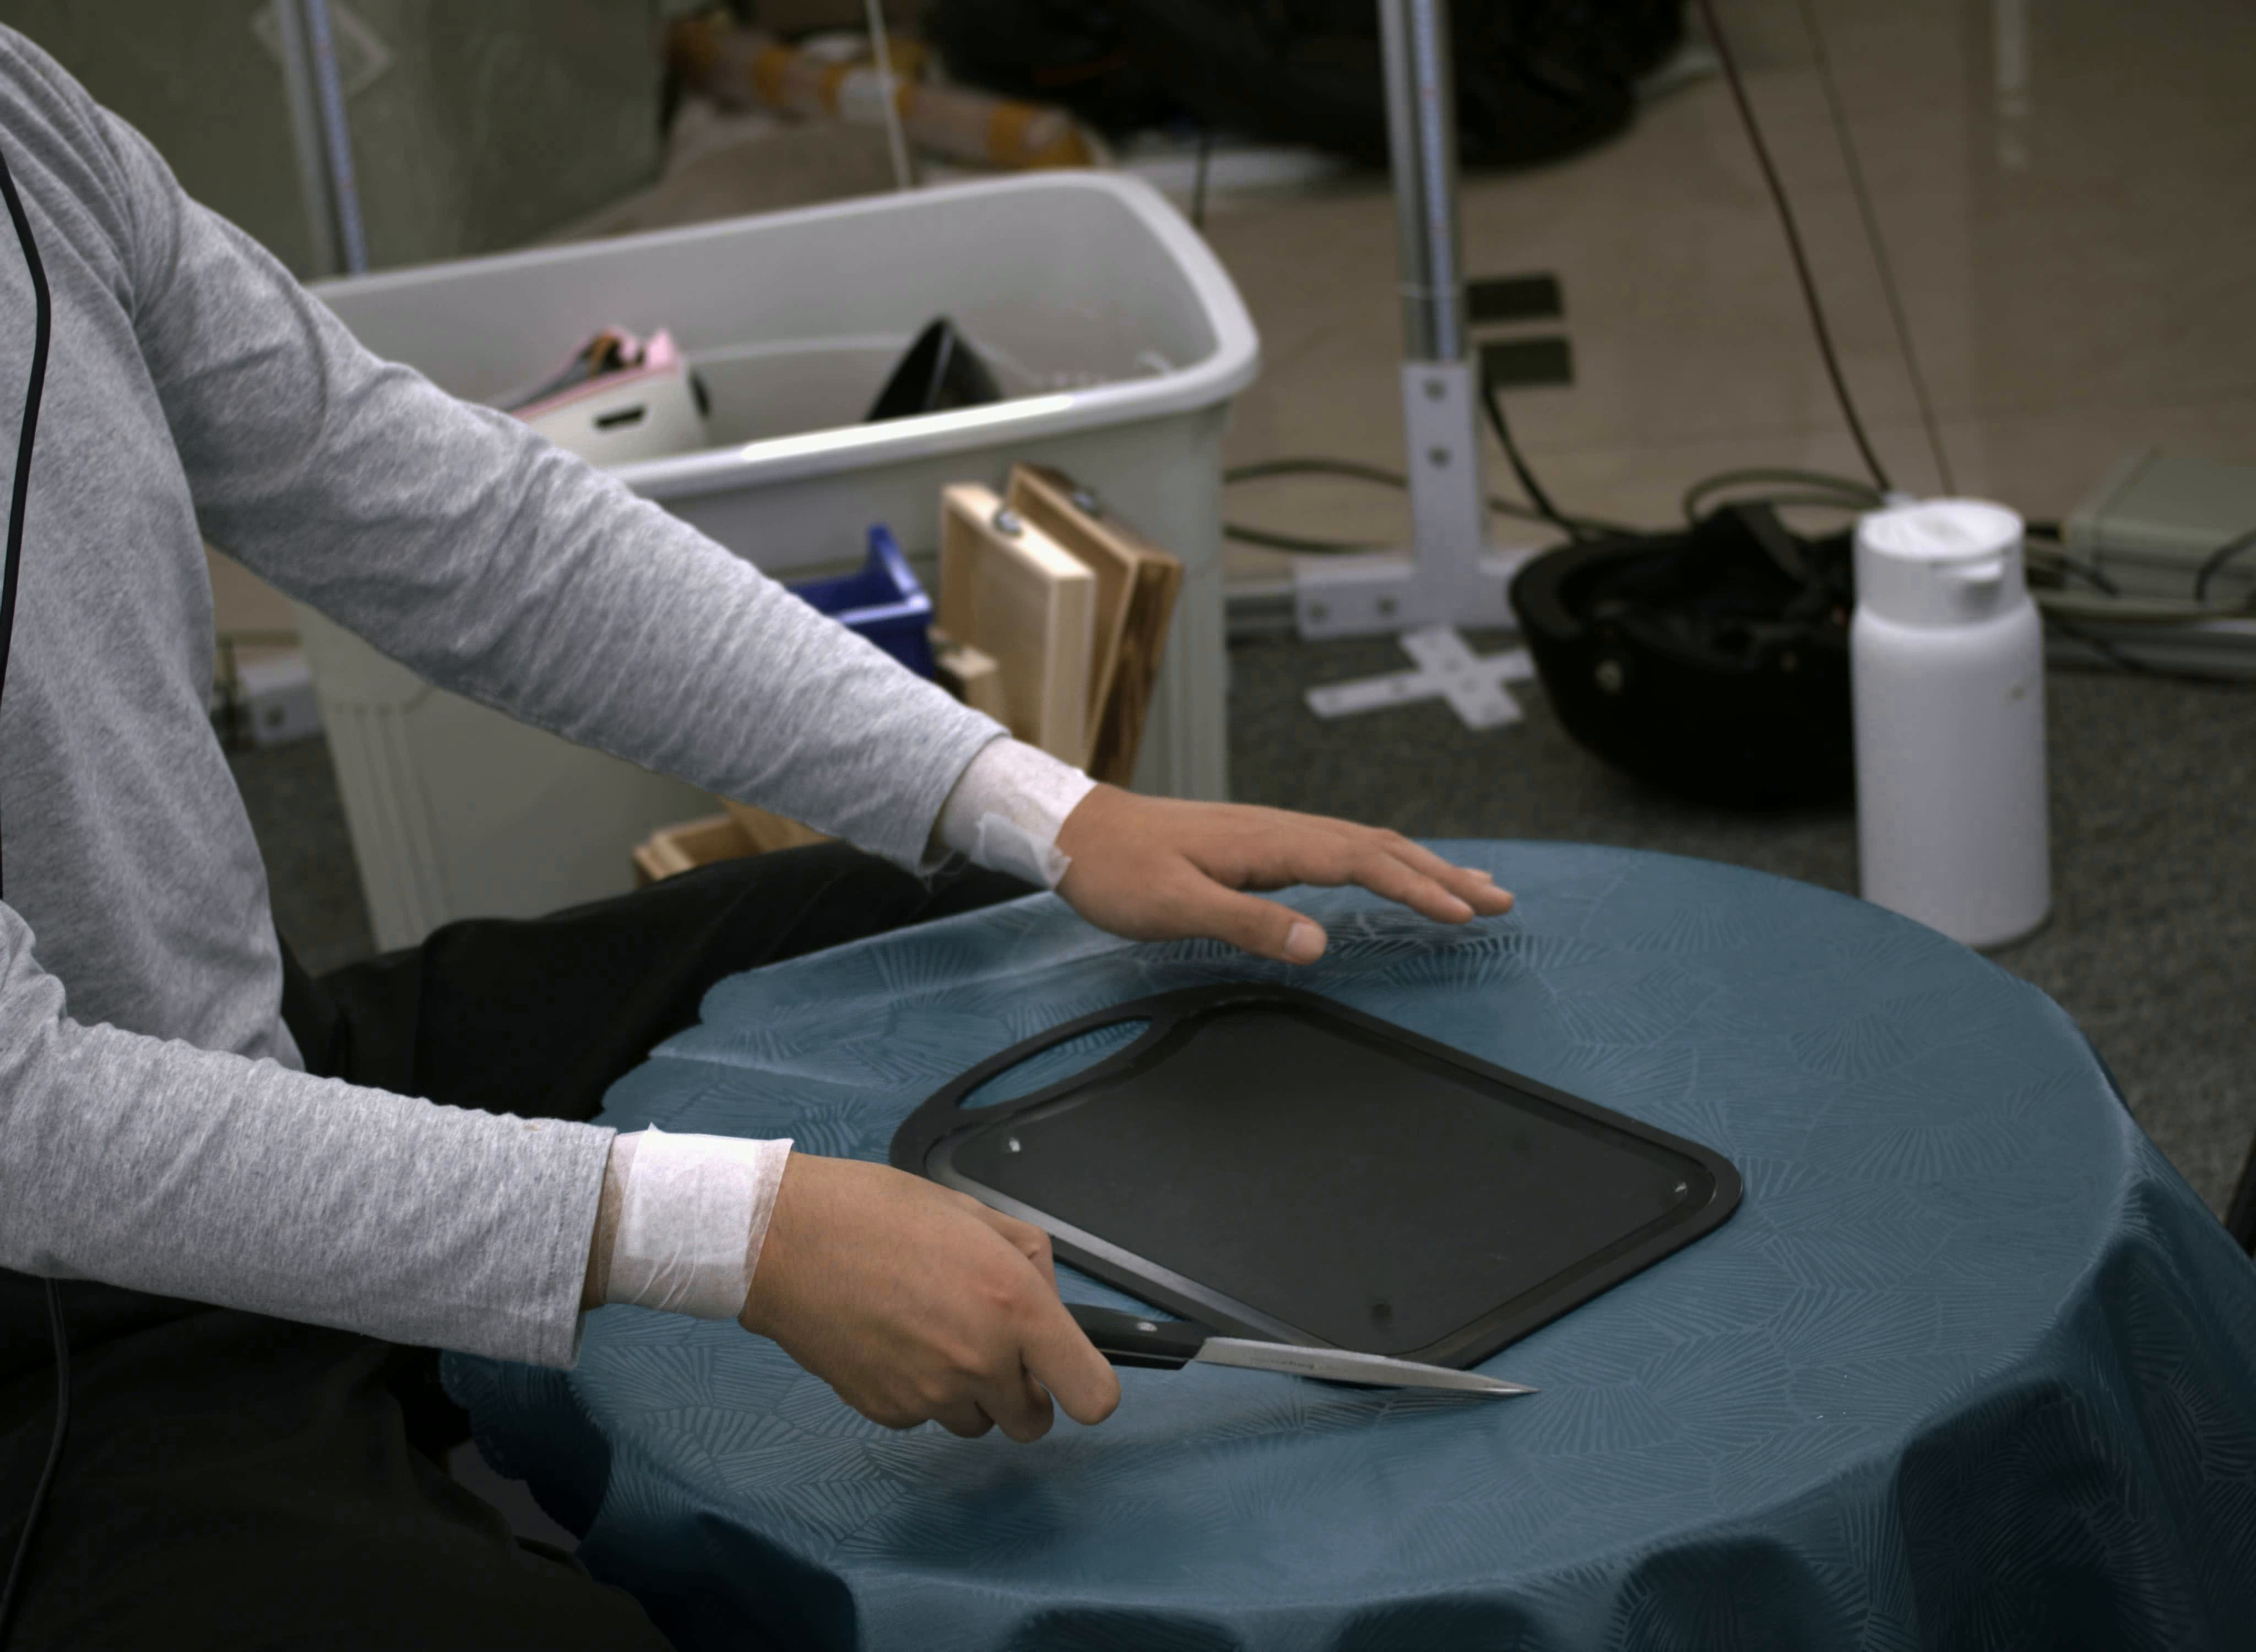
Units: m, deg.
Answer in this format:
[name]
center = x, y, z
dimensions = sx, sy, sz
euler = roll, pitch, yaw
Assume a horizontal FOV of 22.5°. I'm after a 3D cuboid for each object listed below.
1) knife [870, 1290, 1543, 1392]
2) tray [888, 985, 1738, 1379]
[knife]
center = 0.028, 0.184, 1.984
dimensions = 0.238, 0.016, 0.024
euler = 7, 24, -3
[tray]
center = 0.060, 0.128, 2.155
dimensions = 0.209, 0.010, 0.322
euler = -25, 30, -34
